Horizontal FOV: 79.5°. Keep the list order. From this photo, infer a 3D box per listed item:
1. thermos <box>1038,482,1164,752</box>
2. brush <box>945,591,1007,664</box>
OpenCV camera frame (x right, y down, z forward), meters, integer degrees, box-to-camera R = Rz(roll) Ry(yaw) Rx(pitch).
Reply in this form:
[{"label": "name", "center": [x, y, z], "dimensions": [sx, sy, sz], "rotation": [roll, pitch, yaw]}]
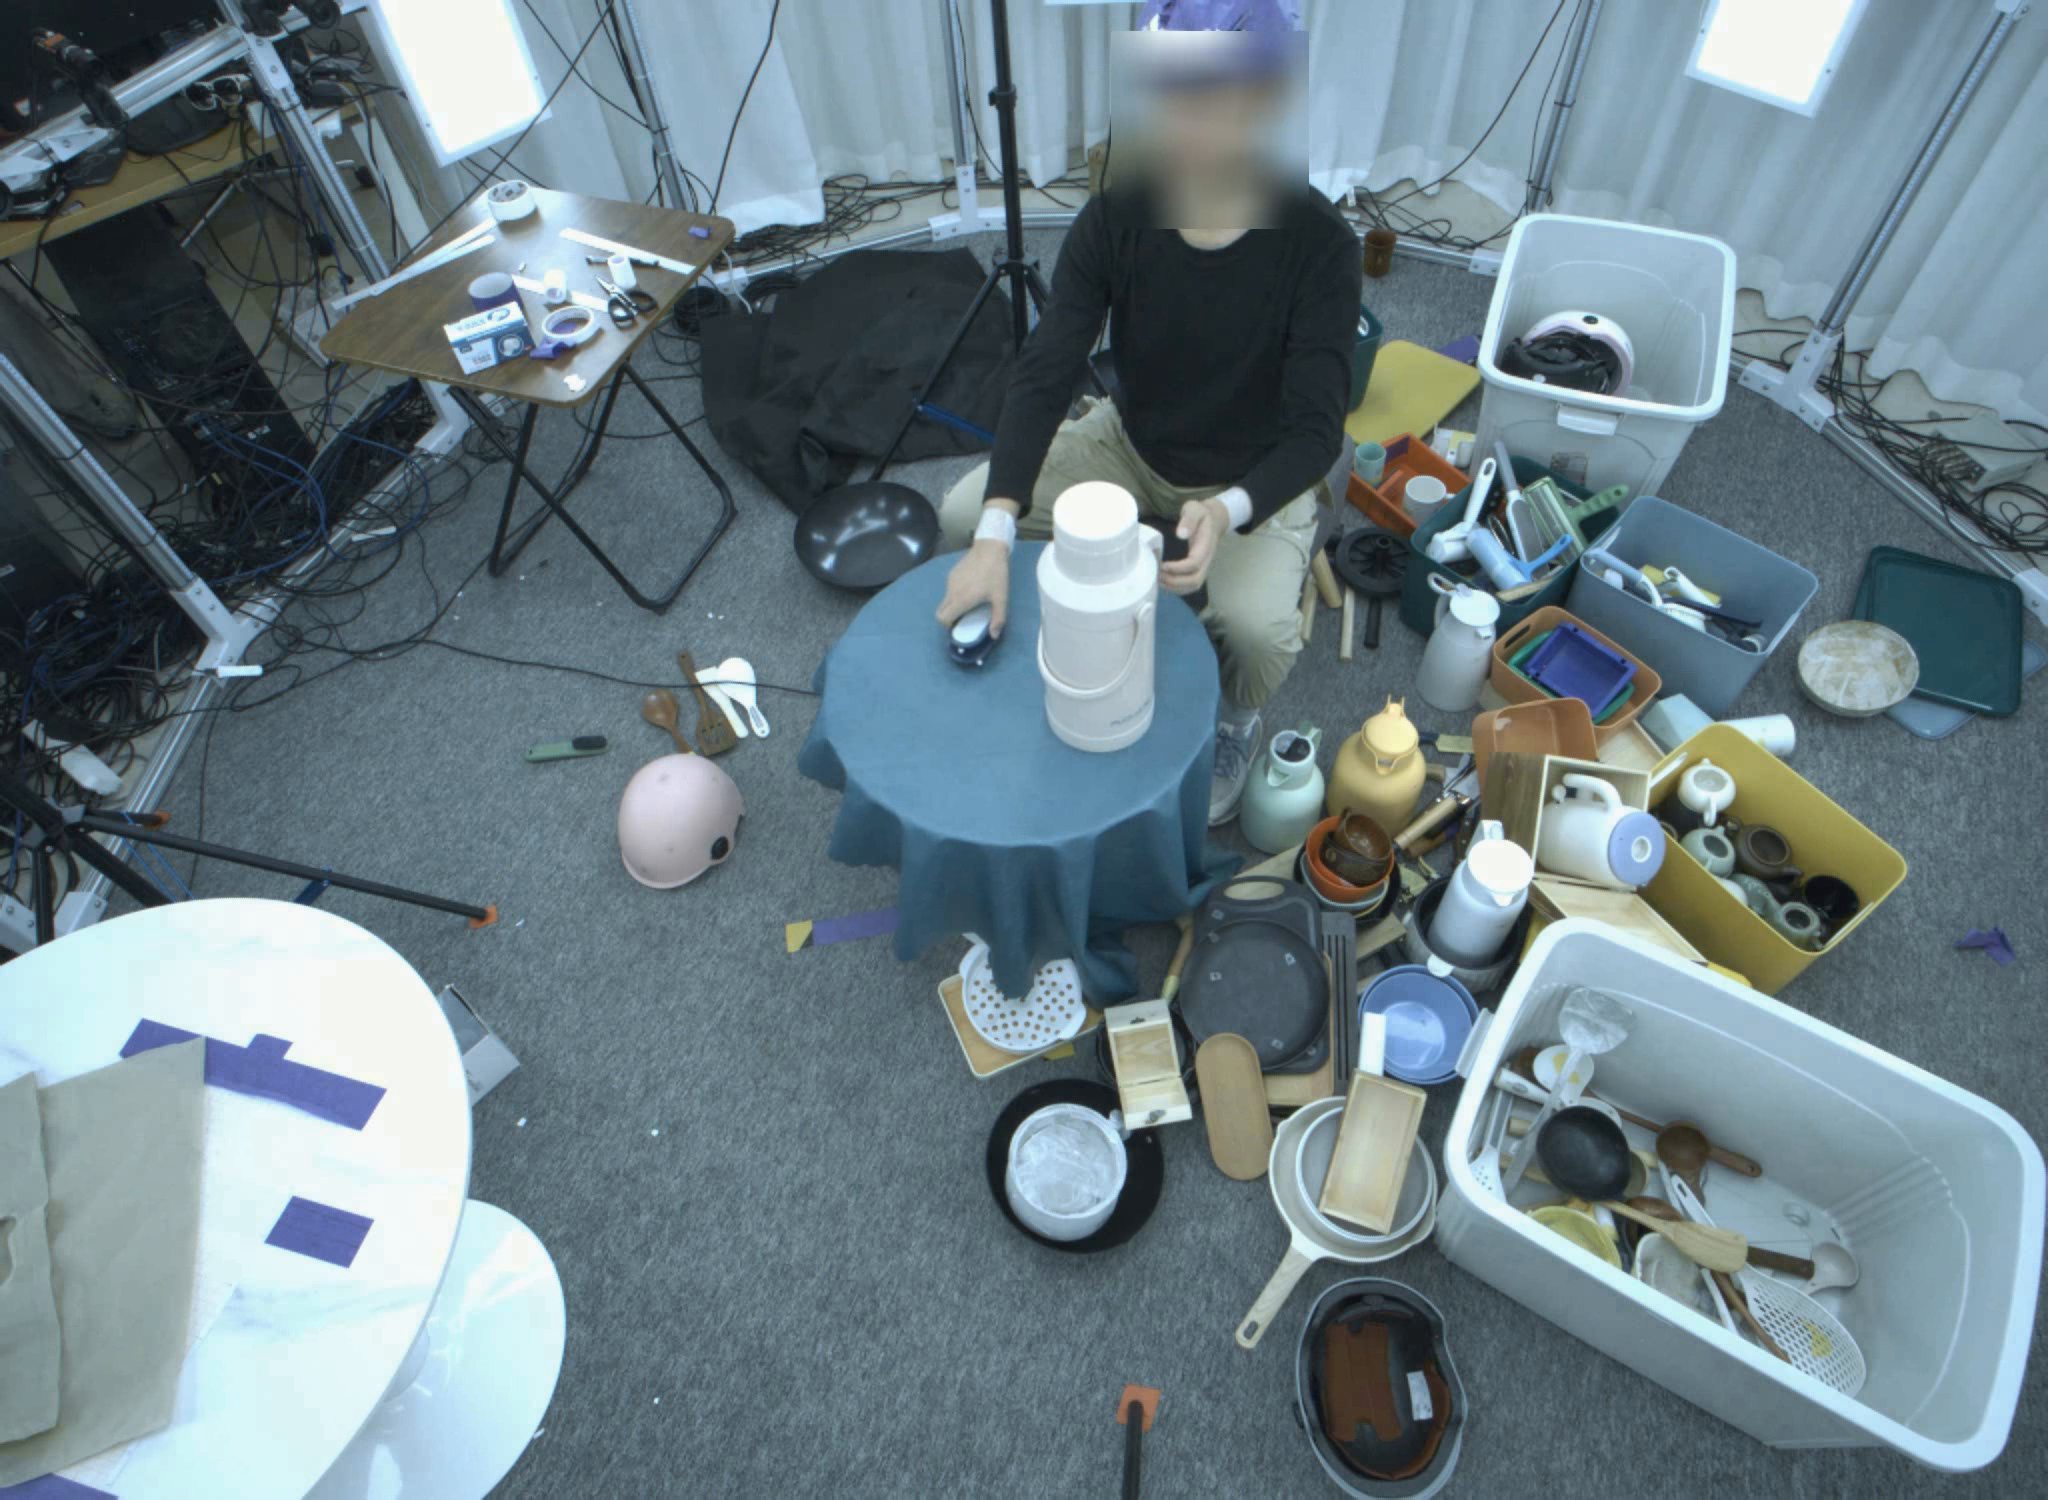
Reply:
[{"label": "thermos", "center": [0.113, -0.184, 1.669], "dimensions": [0.172, 0.411, 0.208], "rotation": [36, 65, 27]}, {"label": "brush", "center": [-0.073, -0.186, 1.880], "dimensions": [0.067, 0.062, 0.122], "rotation": [26, 59, 22]}]
